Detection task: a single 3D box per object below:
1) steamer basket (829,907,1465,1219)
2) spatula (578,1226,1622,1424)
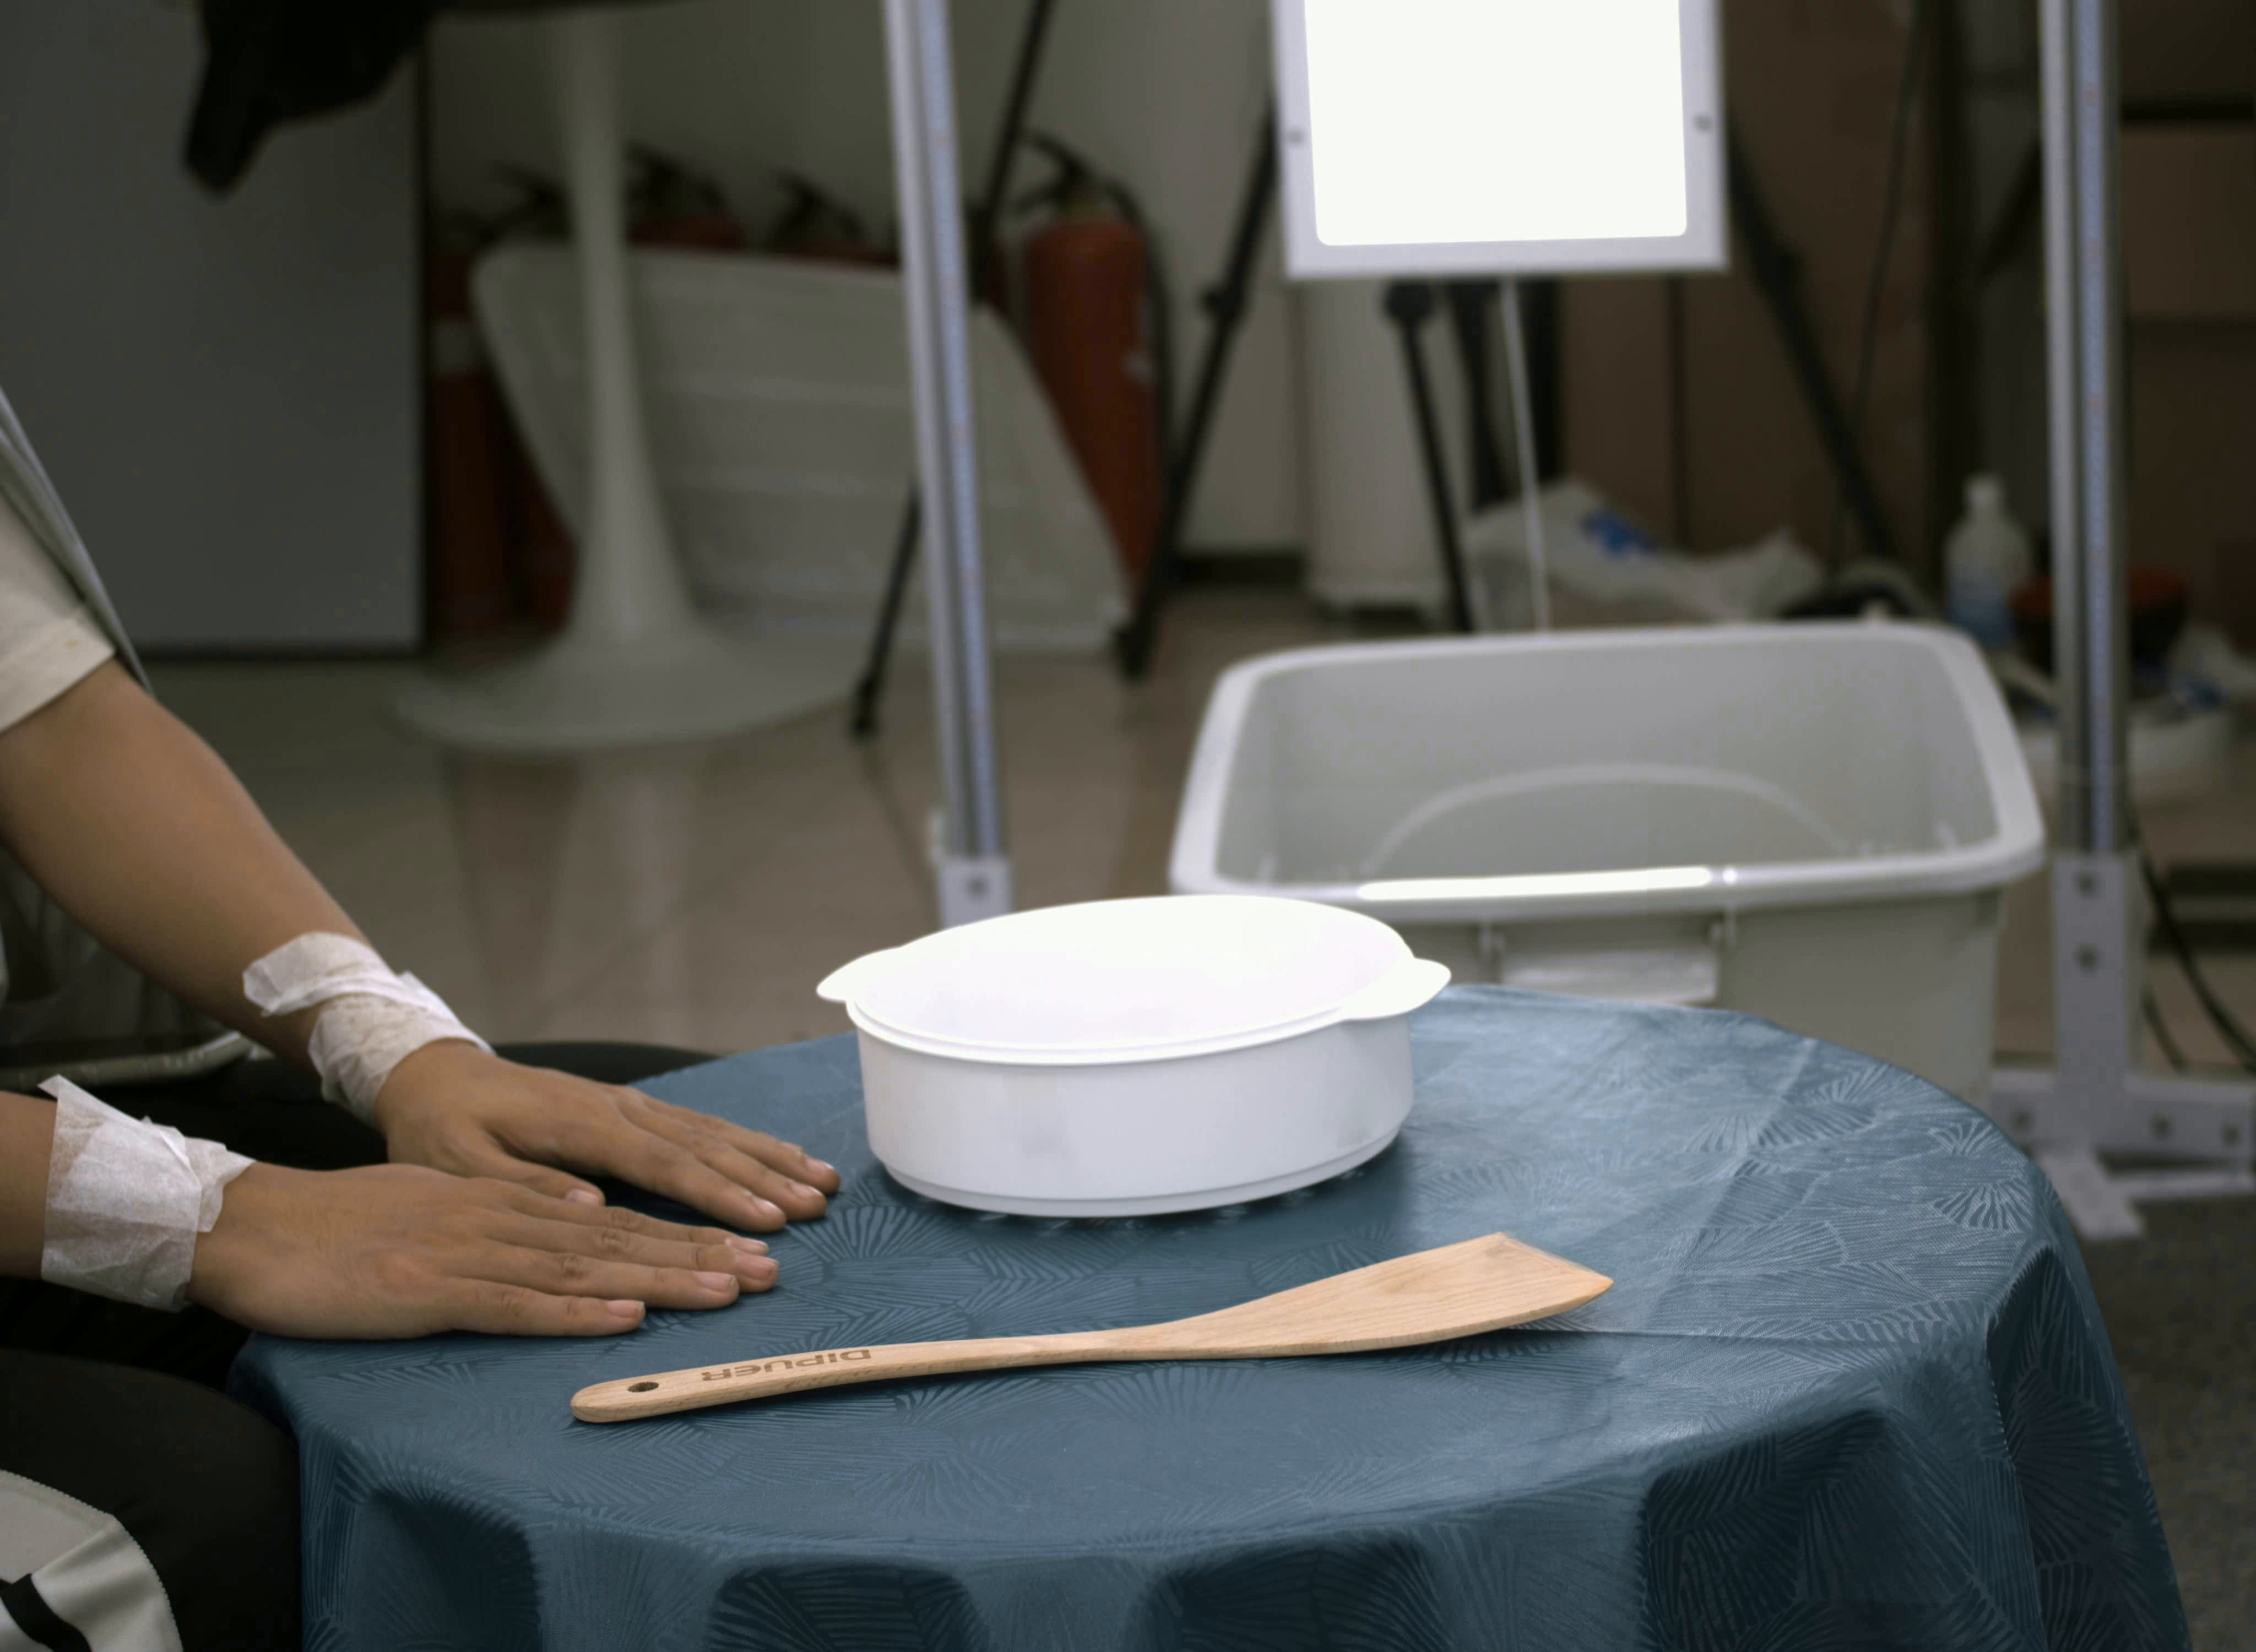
[{"bbox_3d":[0.007,0.083,1.936,0.234,0.069,0.198,0,13,24],"label":"steamer basket"},{"bbox_3d":[-0.010,0.159,1.731,0.325,0.016,0.080,-7,13,-4],"label":"spatula"}]
